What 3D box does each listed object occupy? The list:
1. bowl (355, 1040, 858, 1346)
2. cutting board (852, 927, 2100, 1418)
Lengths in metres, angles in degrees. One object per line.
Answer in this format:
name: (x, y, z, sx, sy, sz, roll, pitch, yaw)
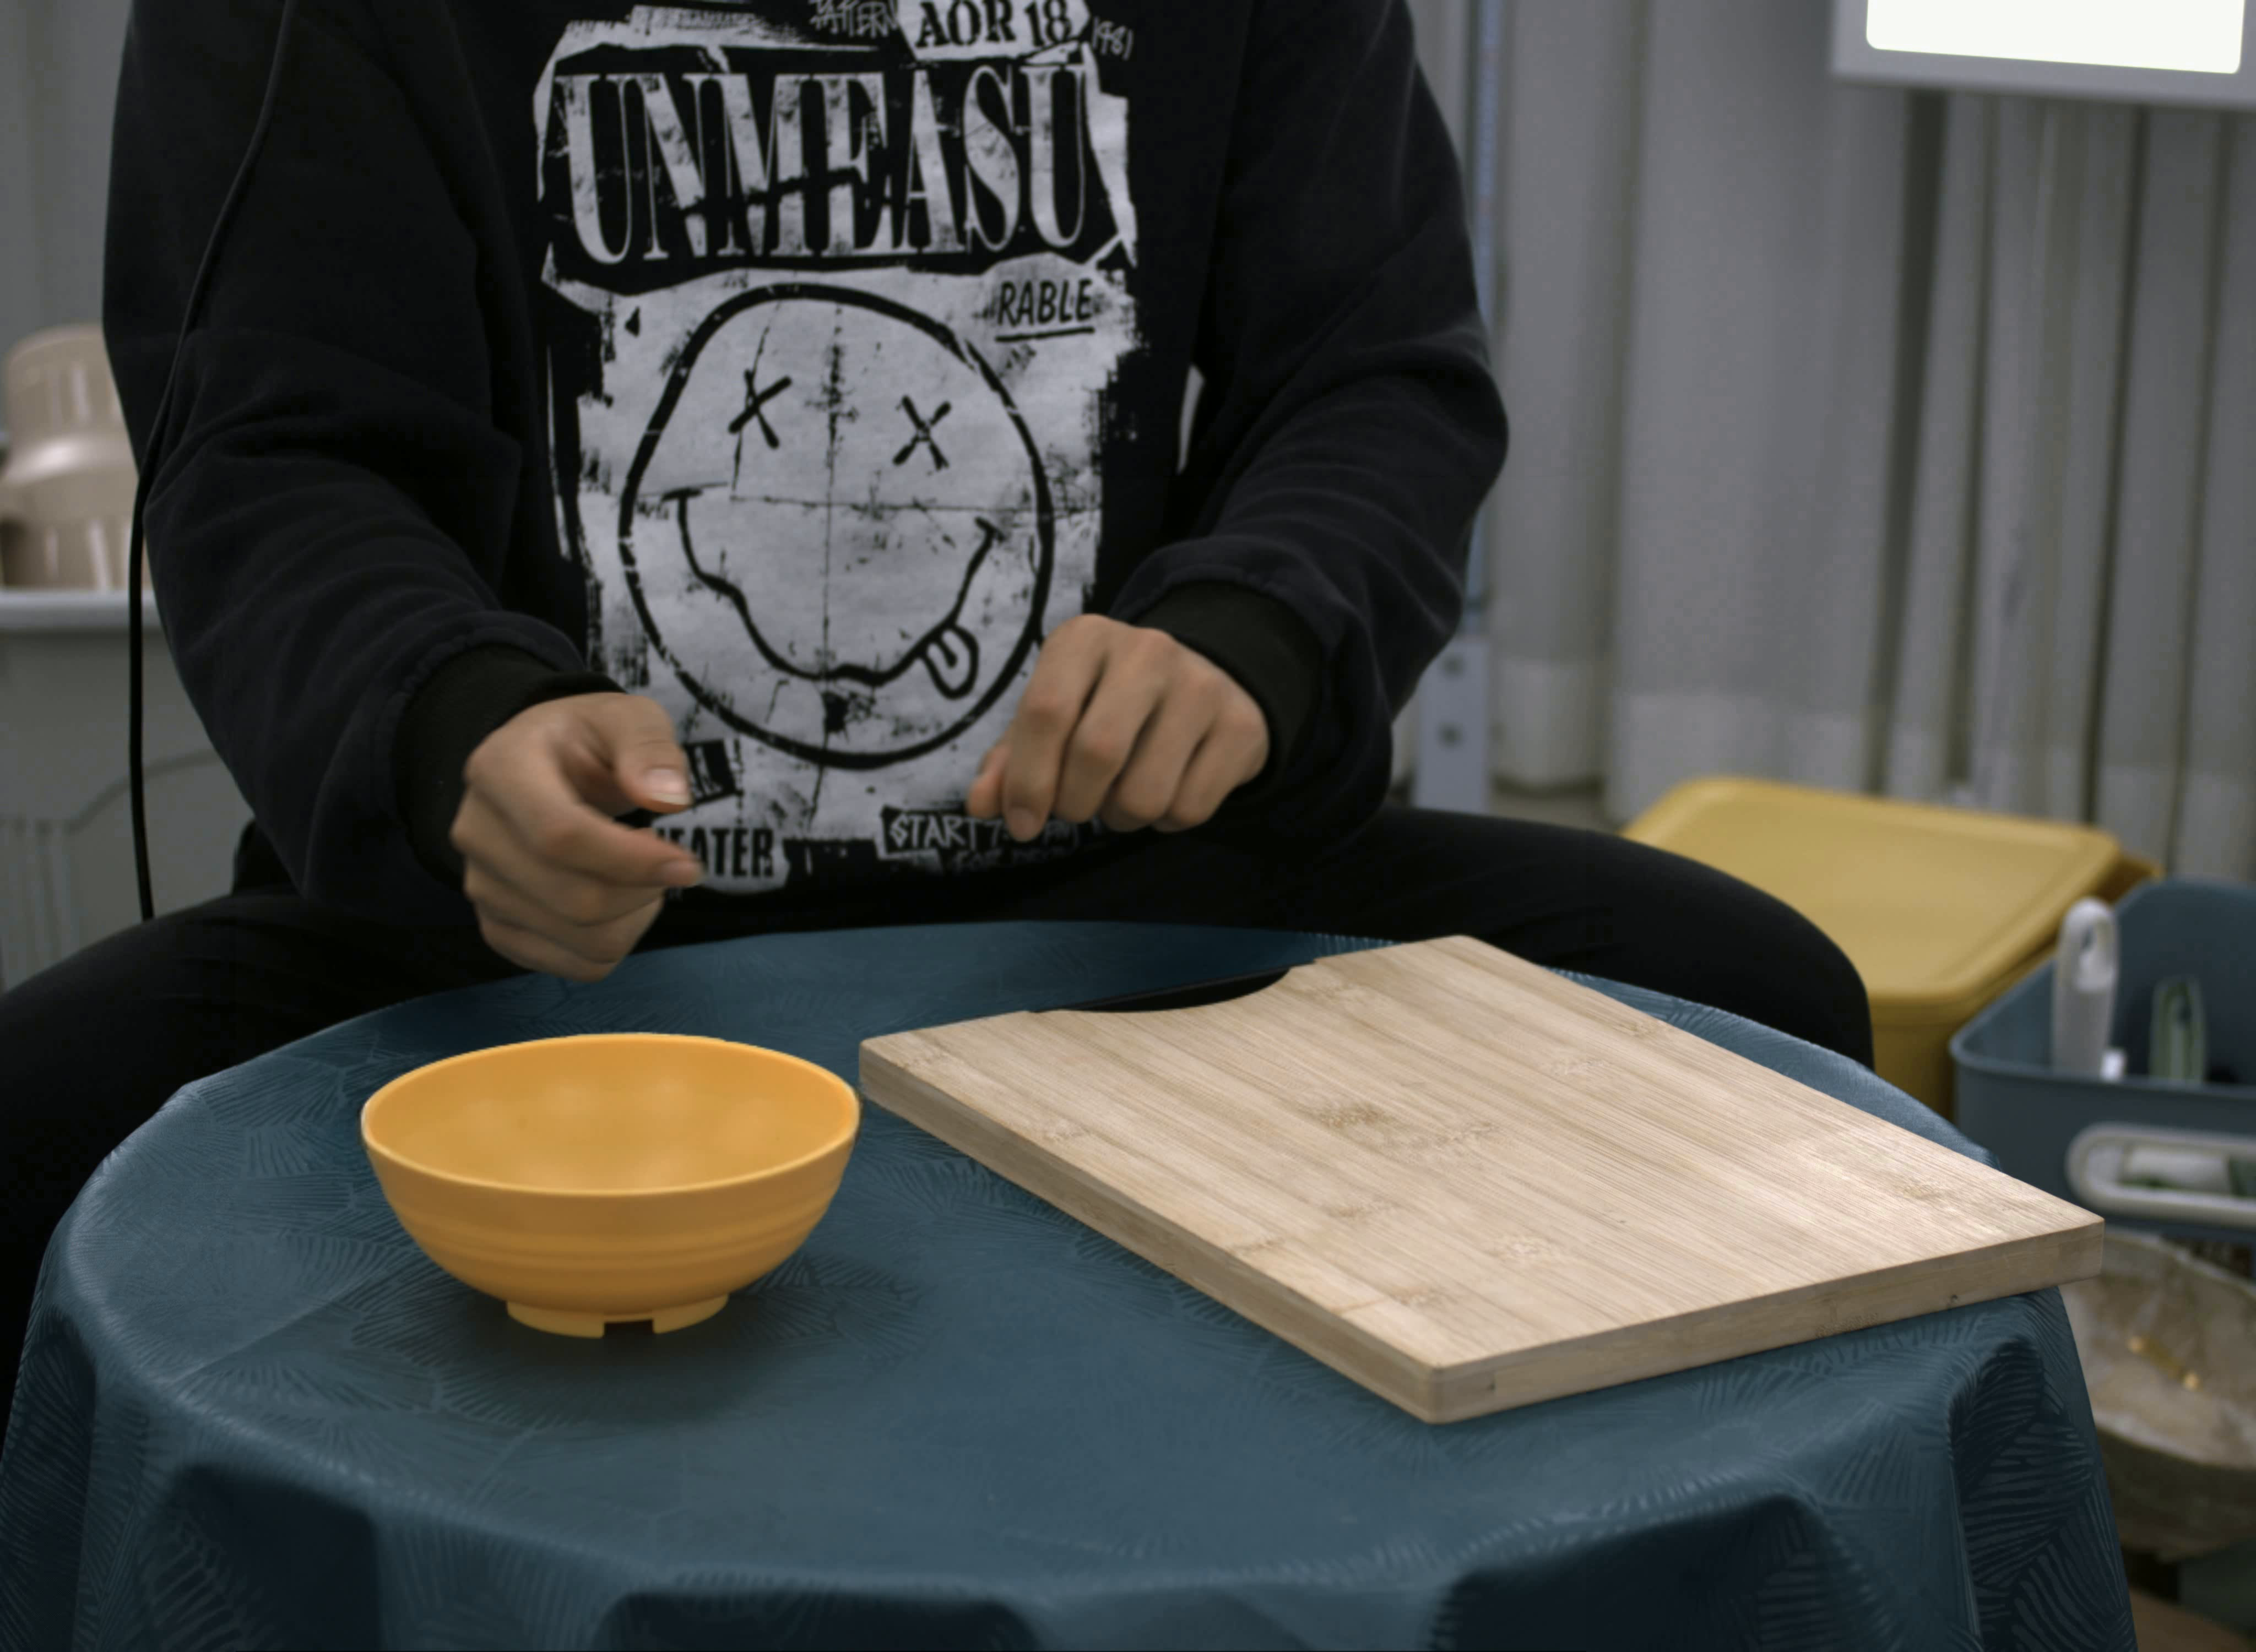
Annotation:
bowl: (-0.151, 0.111, 1.523, 0.145, 0.060, 0.144, 3, 15, 0)
cutting board: (0.099, 0.101, 1.643, 0.252, 0.024, 0.344, -9, 19, -31)
